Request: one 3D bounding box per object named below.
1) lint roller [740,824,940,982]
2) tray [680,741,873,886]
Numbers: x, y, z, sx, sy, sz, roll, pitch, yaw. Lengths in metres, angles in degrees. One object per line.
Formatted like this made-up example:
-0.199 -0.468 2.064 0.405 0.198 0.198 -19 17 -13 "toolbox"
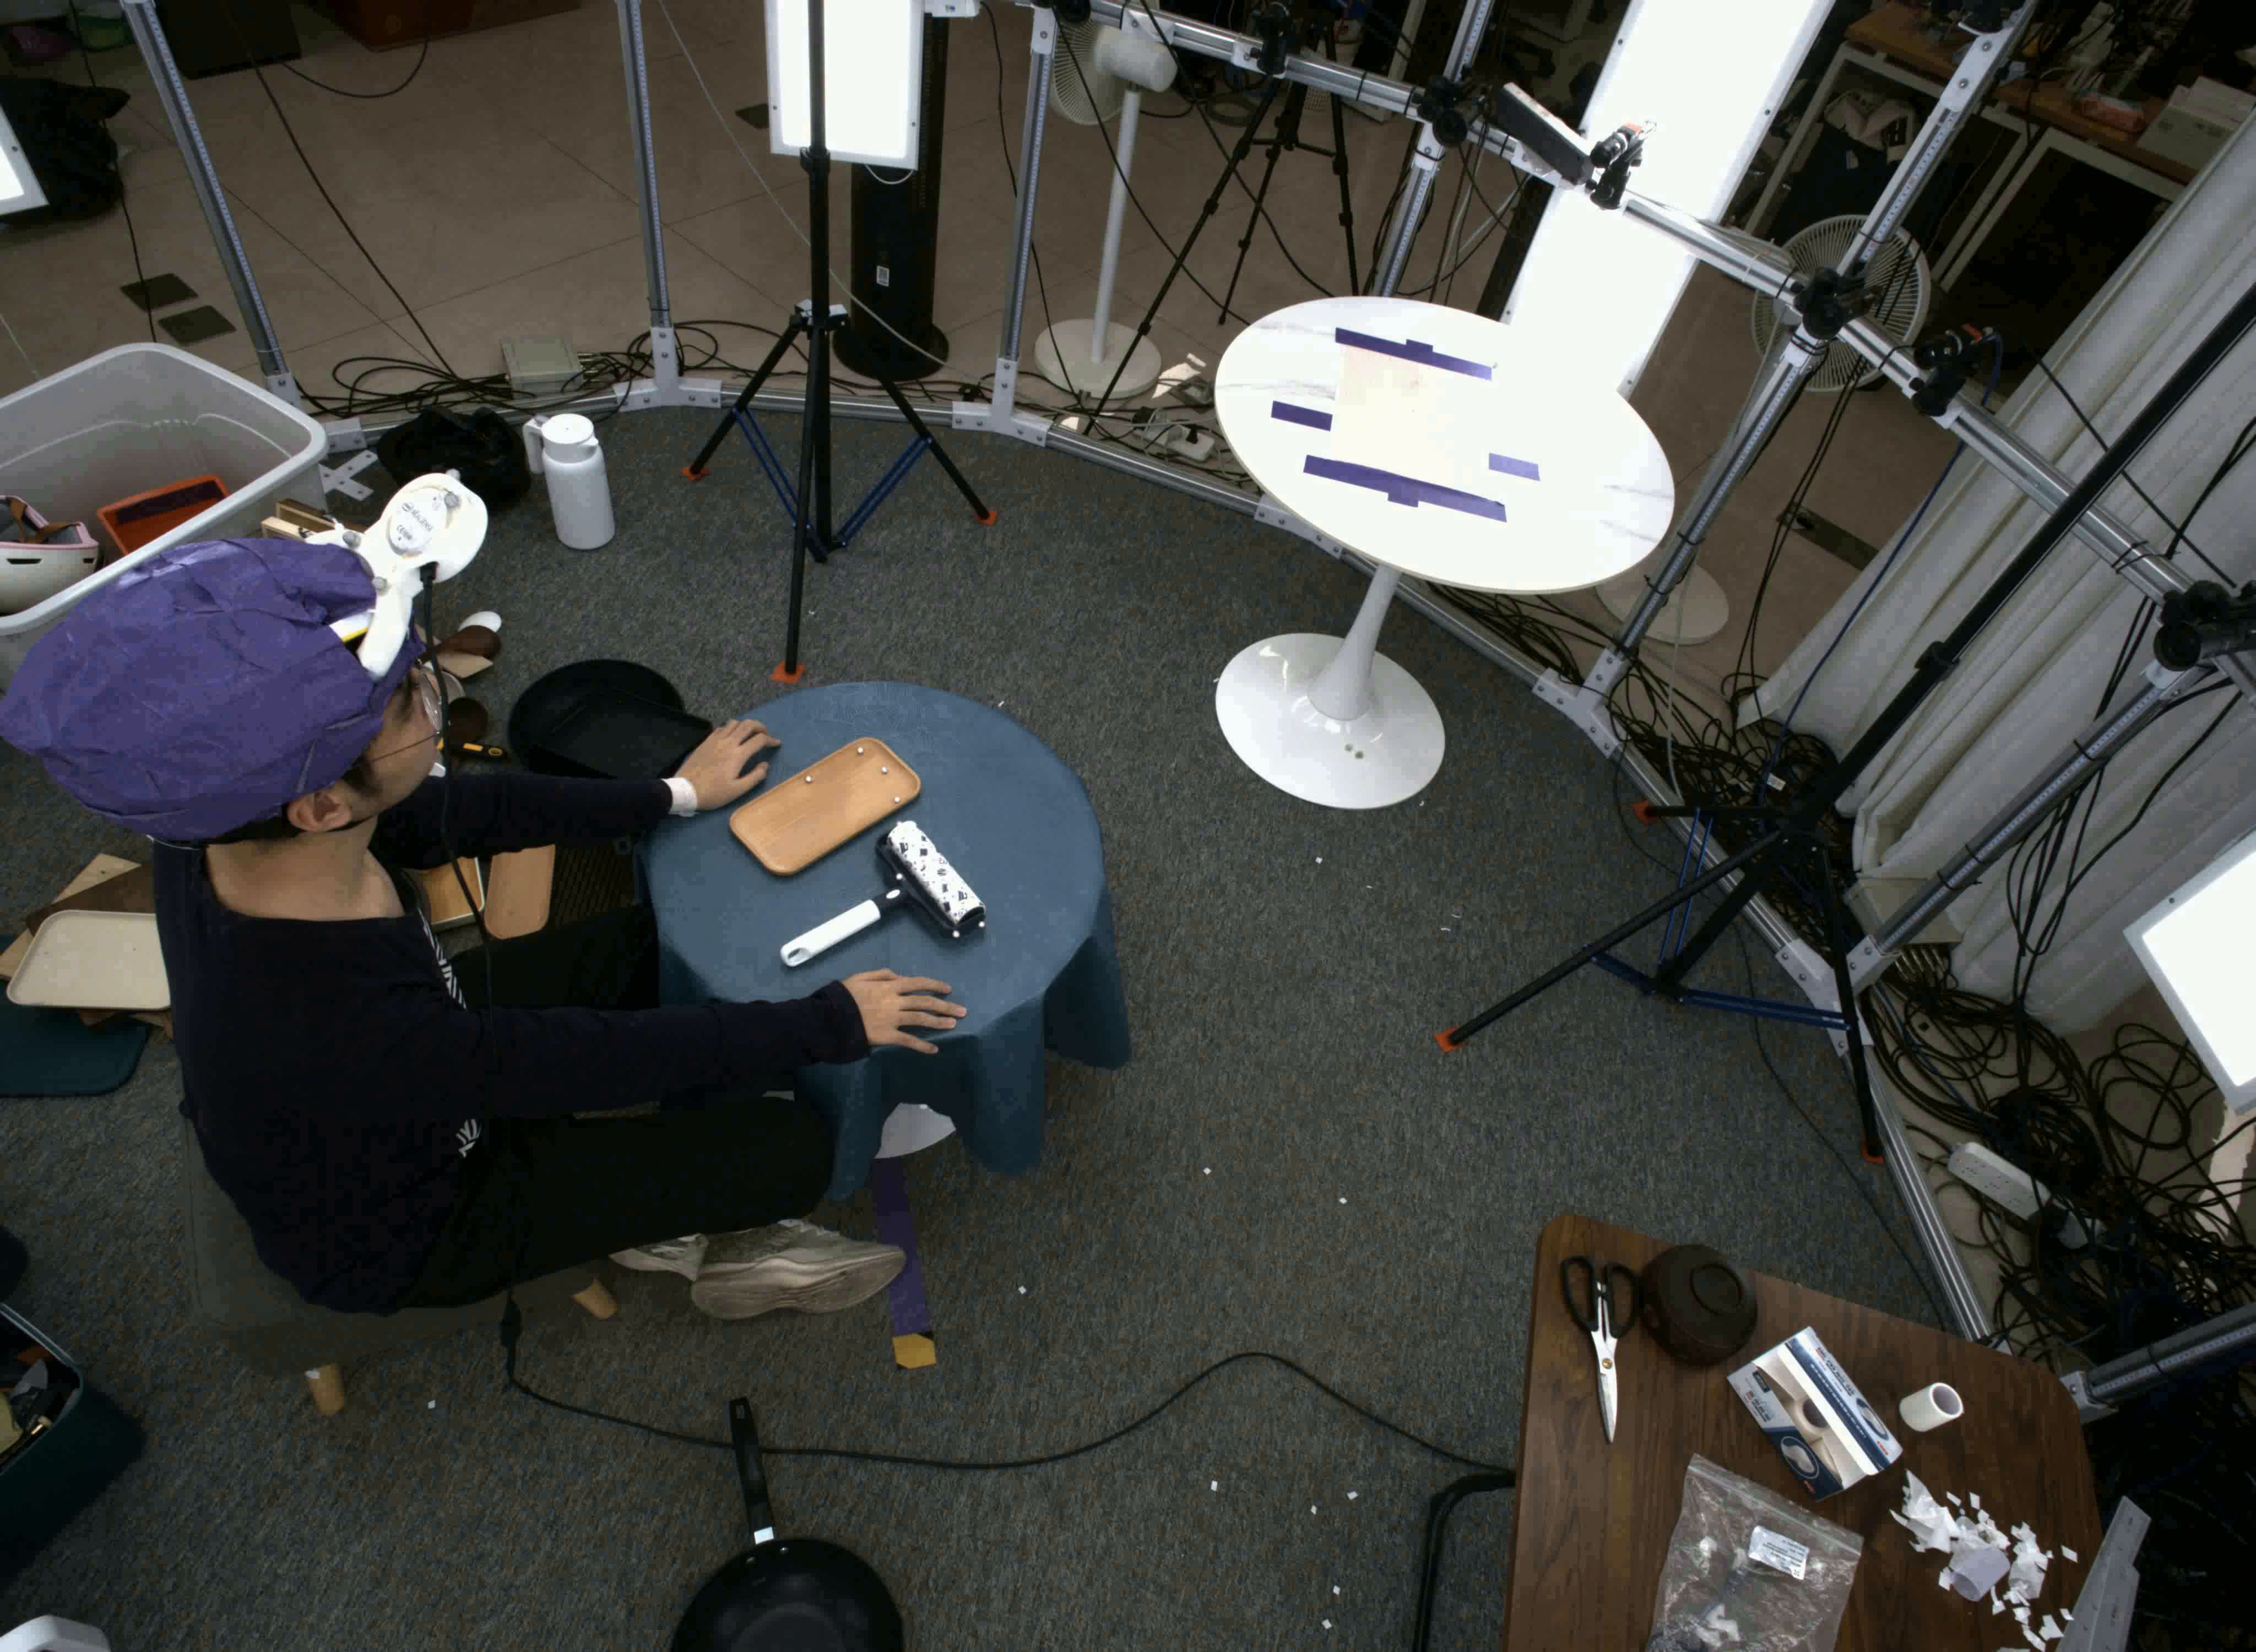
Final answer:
-0.380 0.115 1.636 0.247 0.051 0.172 -35 69 -29 "lint roller"
-0.467 -0.020 1.729 0.127 0.023 0.251 39 56 19 "tray"
